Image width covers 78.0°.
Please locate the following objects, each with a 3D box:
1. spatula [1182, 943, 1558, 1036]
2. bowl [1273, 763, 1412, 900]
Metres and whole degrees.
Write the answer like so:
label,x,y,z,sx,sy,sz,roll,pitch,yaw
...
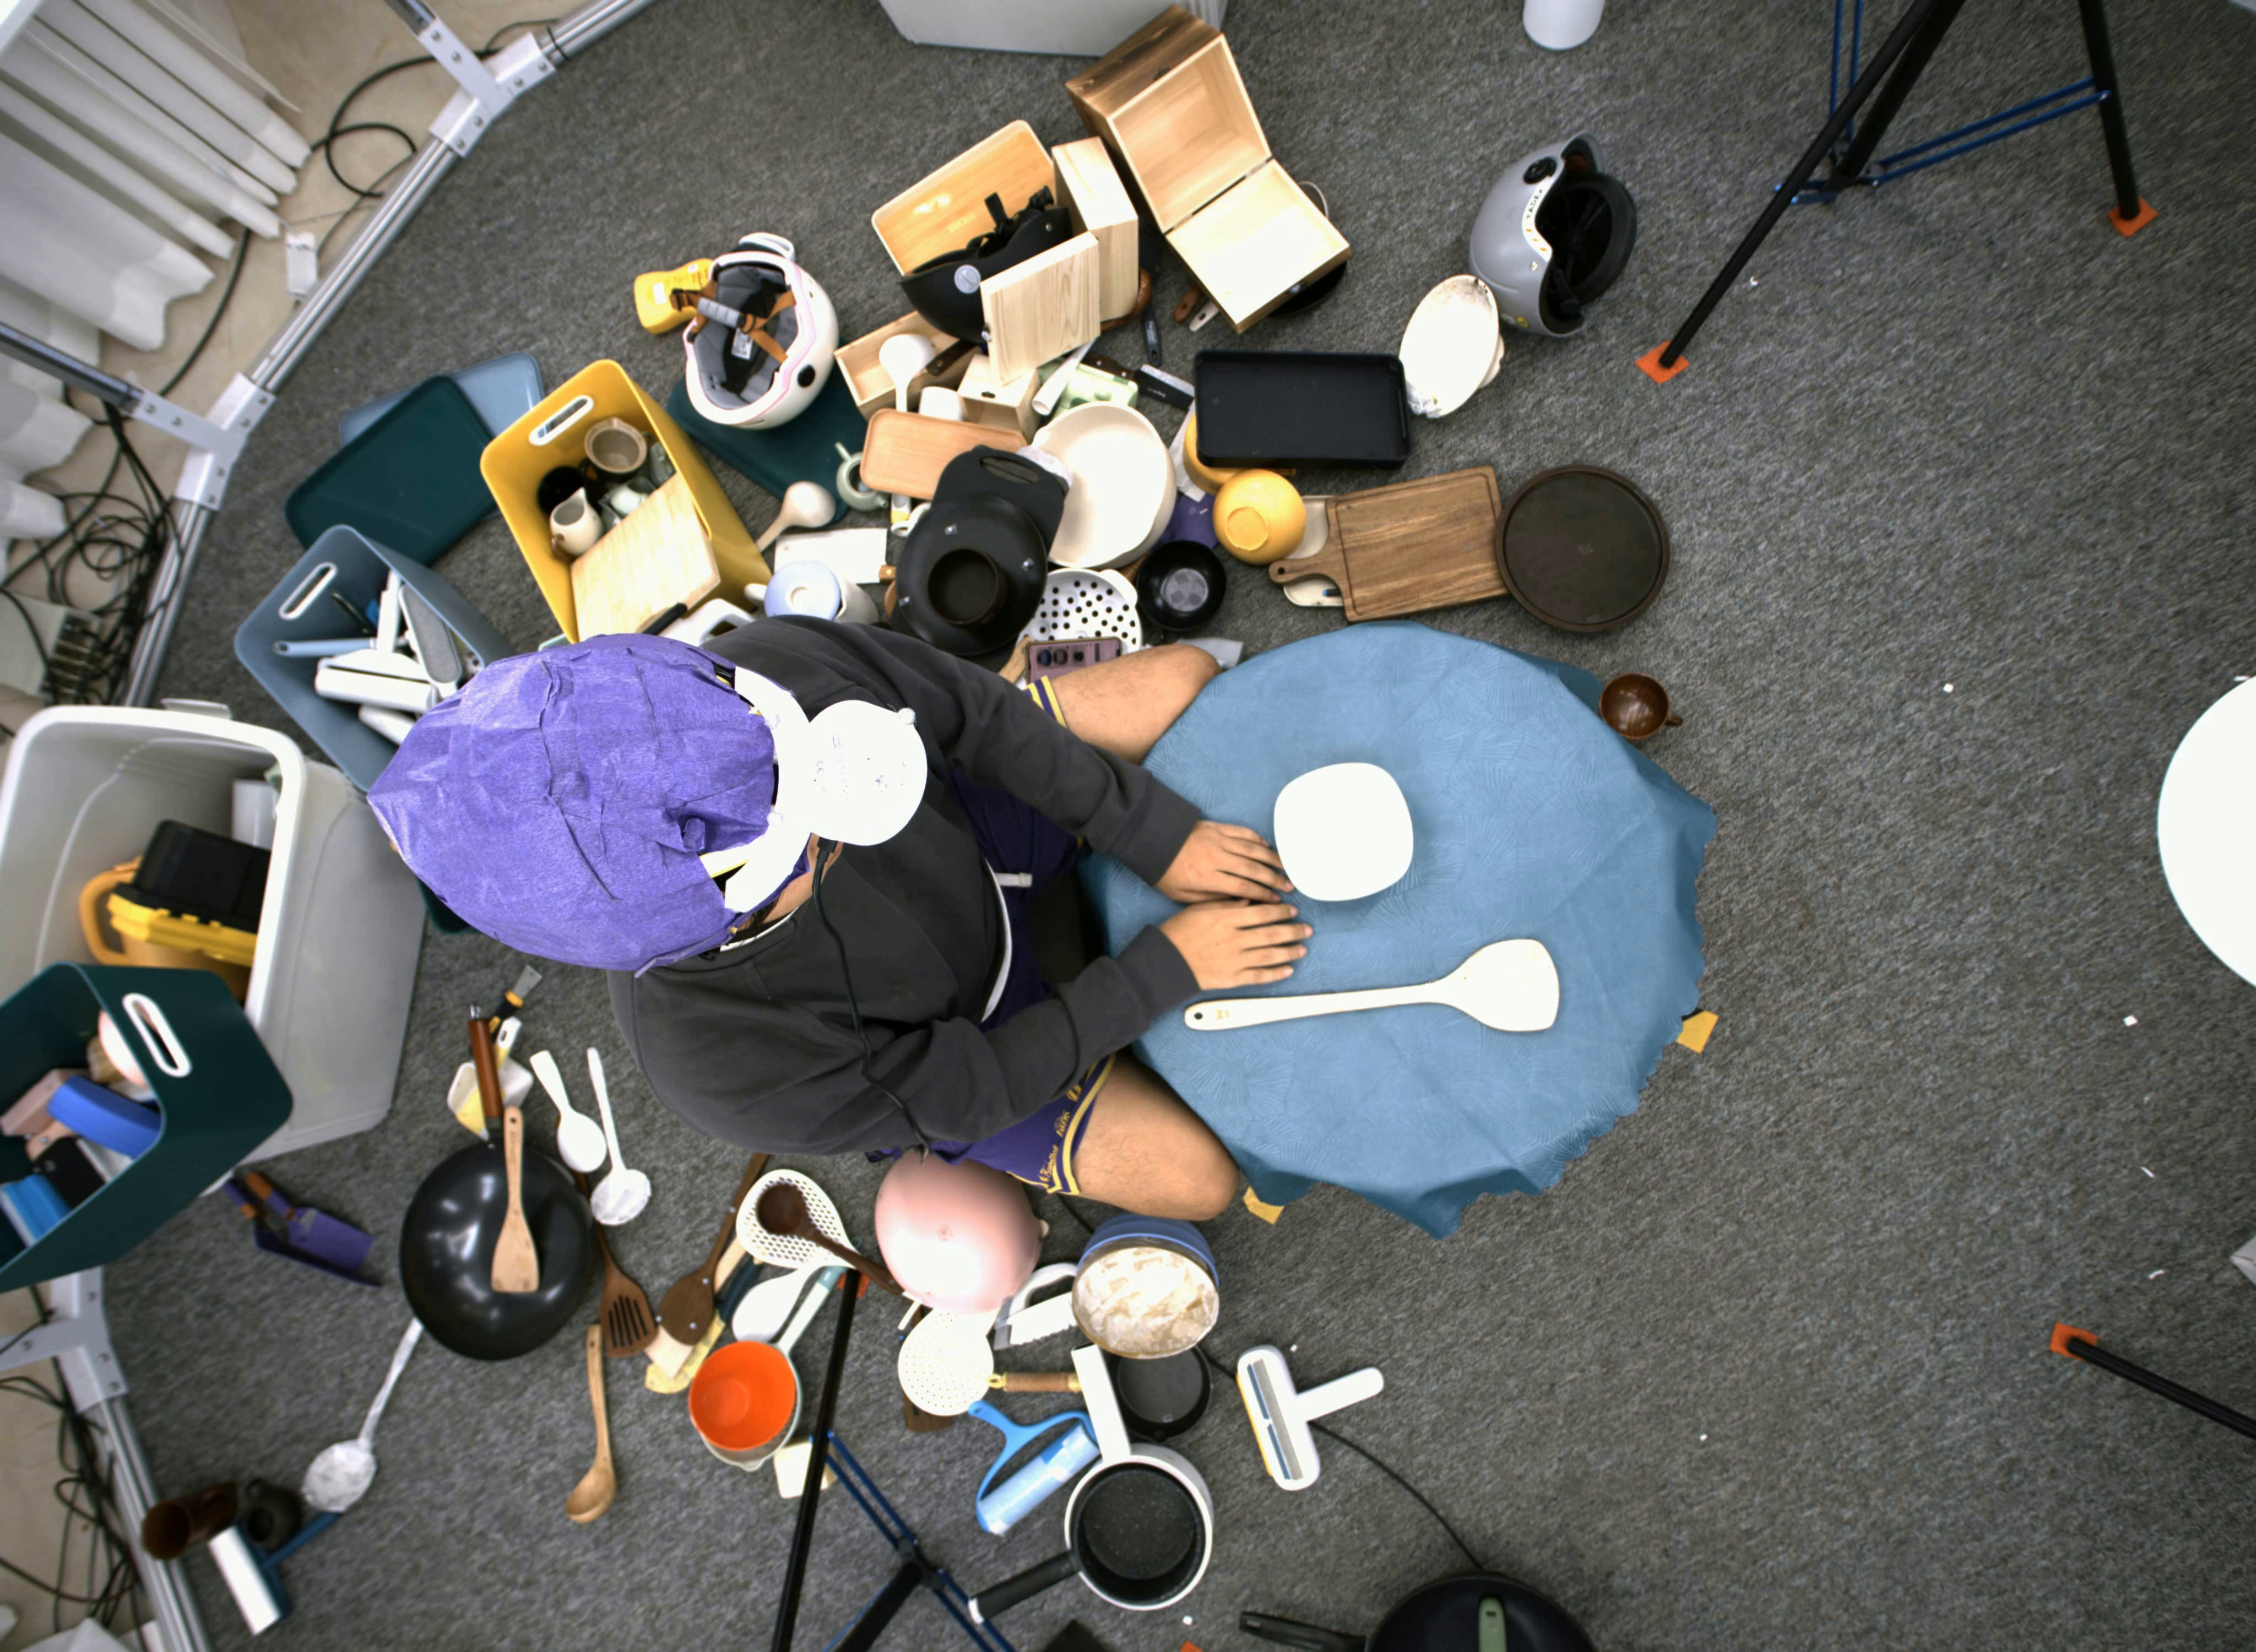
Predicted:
label,x,y,z,sx,sy,sz,roll,pitch,yaw
spatula,0.249,0.186,1.448,0.392,0.018,0.095,-7,84,9
bowl,0.224,0.008,1.444,0.152,0.059,0.150,-1,85,9
